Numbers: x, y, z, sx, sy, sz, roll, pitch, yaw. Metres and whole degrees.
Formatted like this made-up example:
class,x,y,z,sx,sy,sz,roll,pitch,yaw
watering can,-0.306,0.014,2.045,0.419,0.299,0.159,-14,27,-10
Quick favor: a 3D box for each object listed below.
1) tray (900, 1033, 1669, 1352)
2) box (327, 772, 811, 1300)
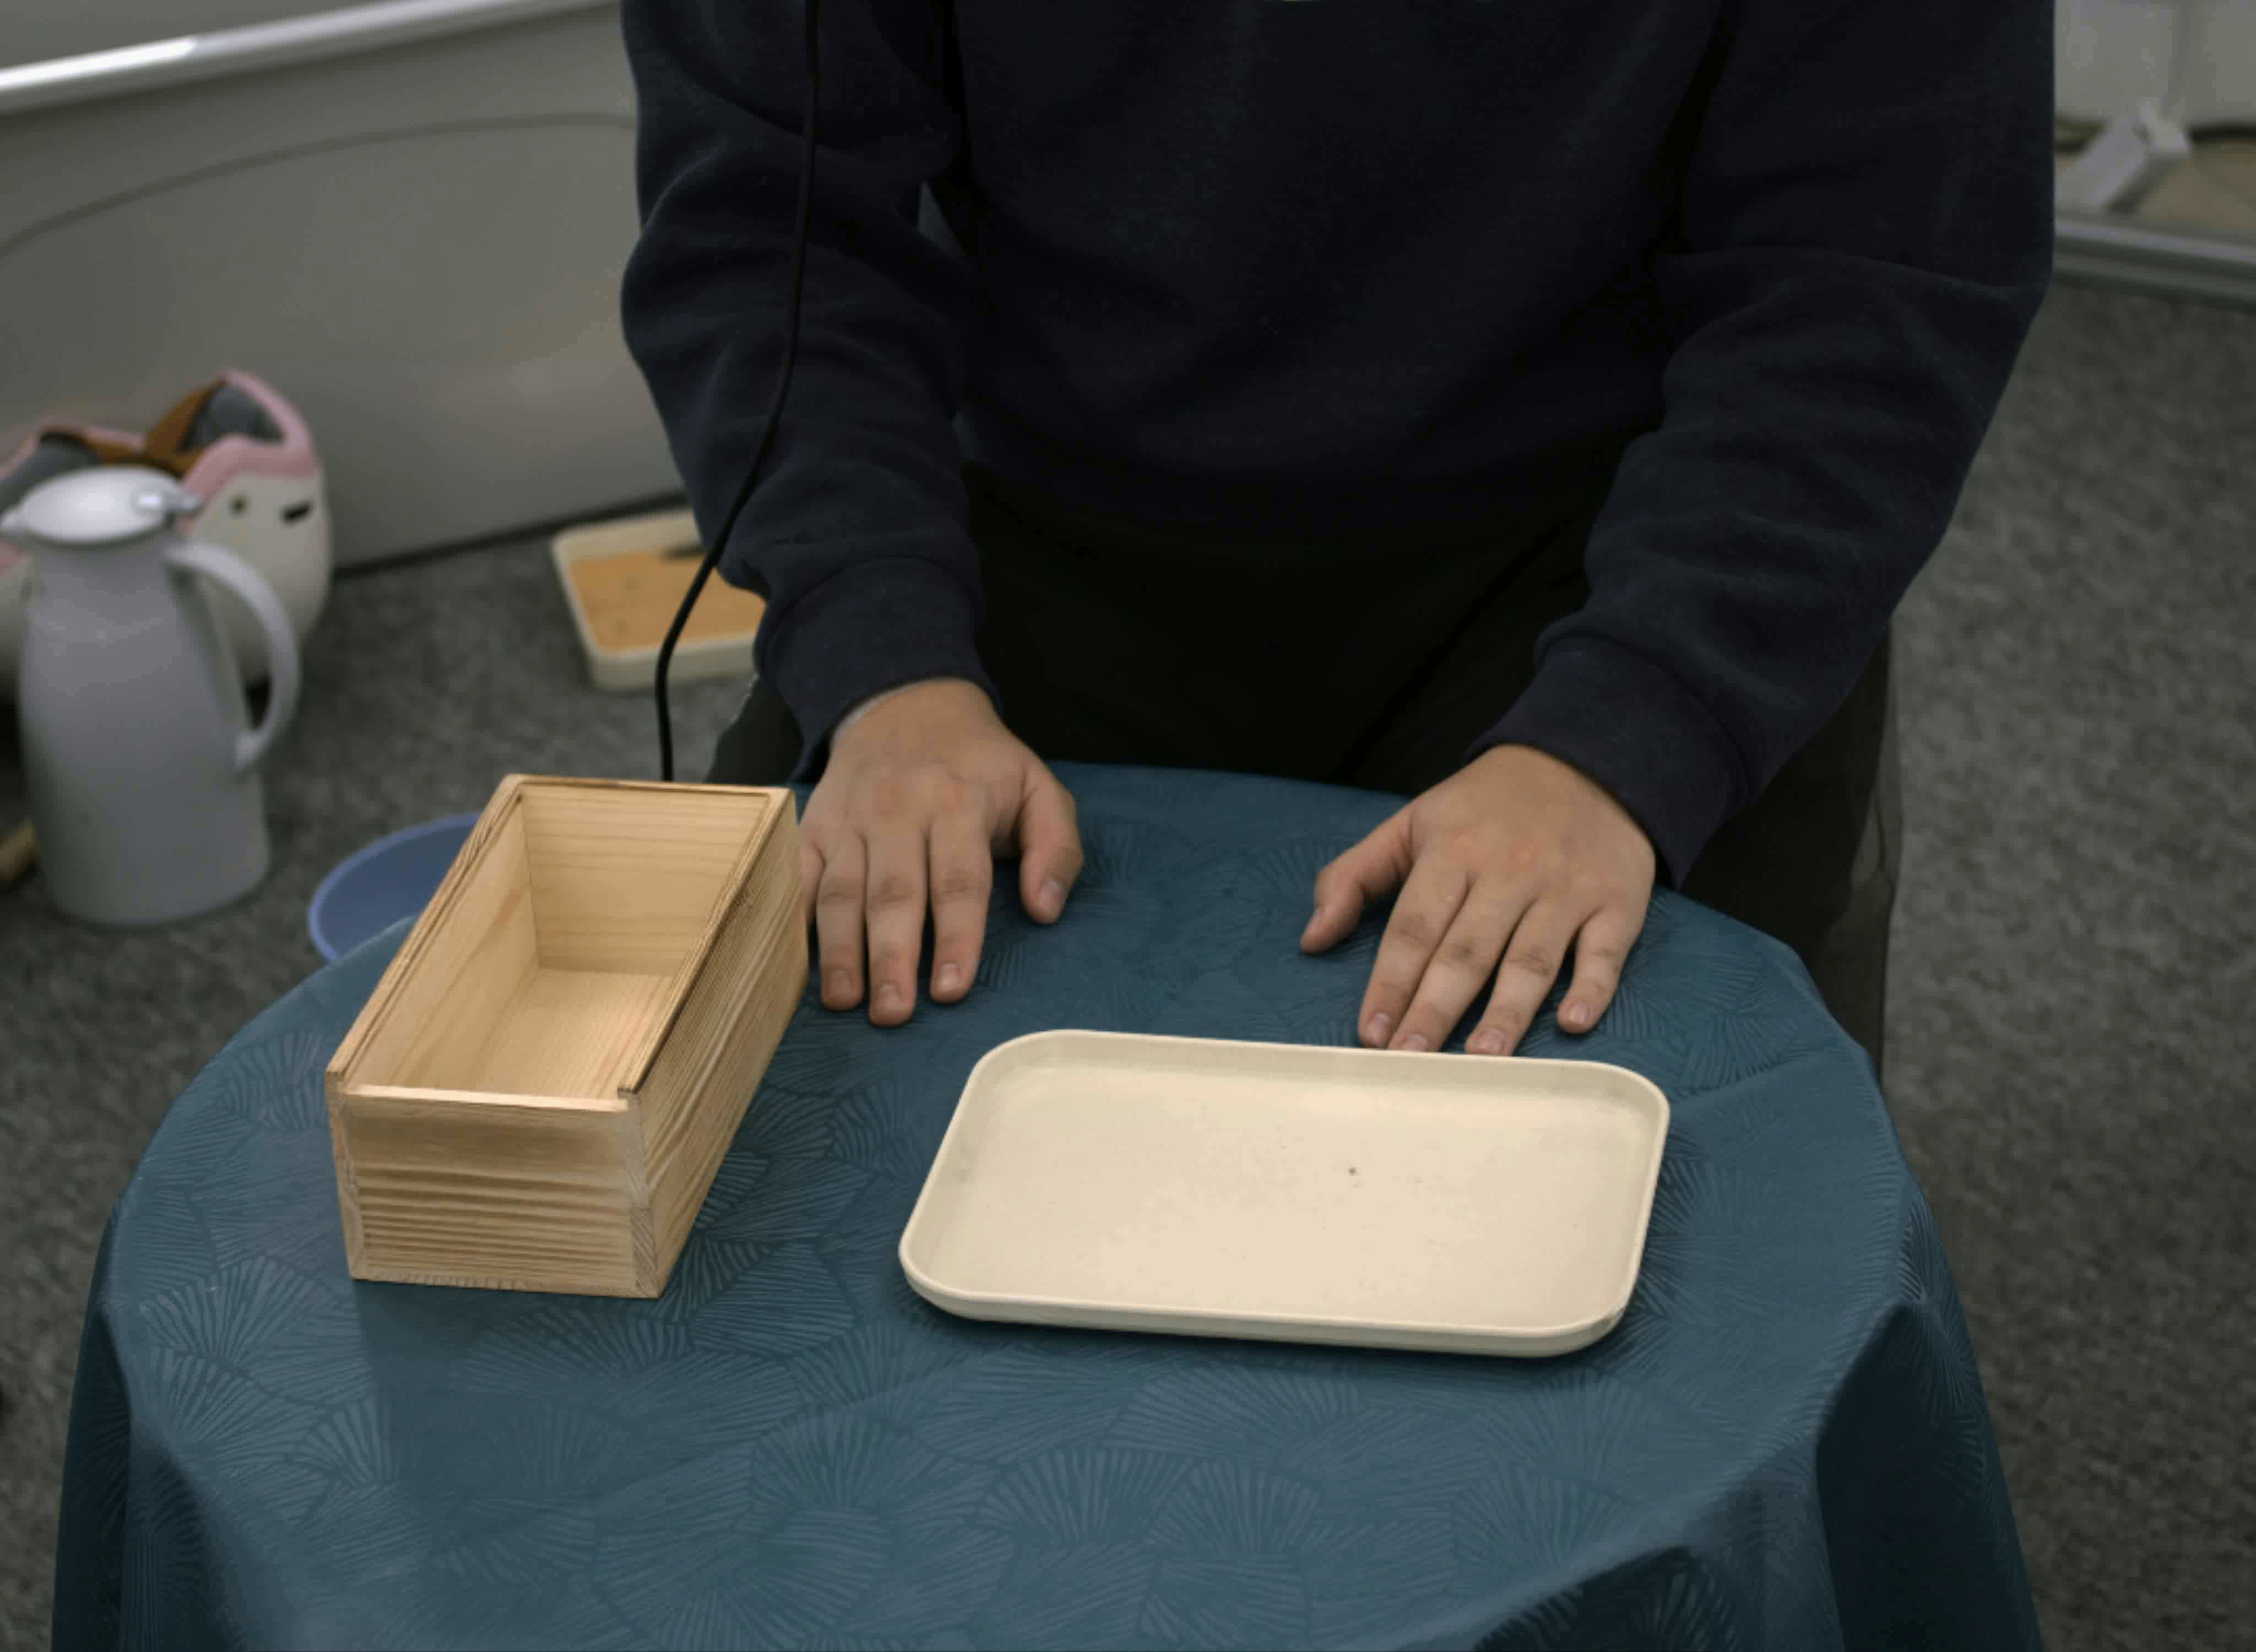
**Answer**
class,x,y,z,sx,sy,sz,roll,pitch,yaw
tray,0.053,0.120,1.844,0.238,0.017,0.174,3,27,10
box,-0.185,0.068,1.900,0.107,0.079,0.215,3,28,10
